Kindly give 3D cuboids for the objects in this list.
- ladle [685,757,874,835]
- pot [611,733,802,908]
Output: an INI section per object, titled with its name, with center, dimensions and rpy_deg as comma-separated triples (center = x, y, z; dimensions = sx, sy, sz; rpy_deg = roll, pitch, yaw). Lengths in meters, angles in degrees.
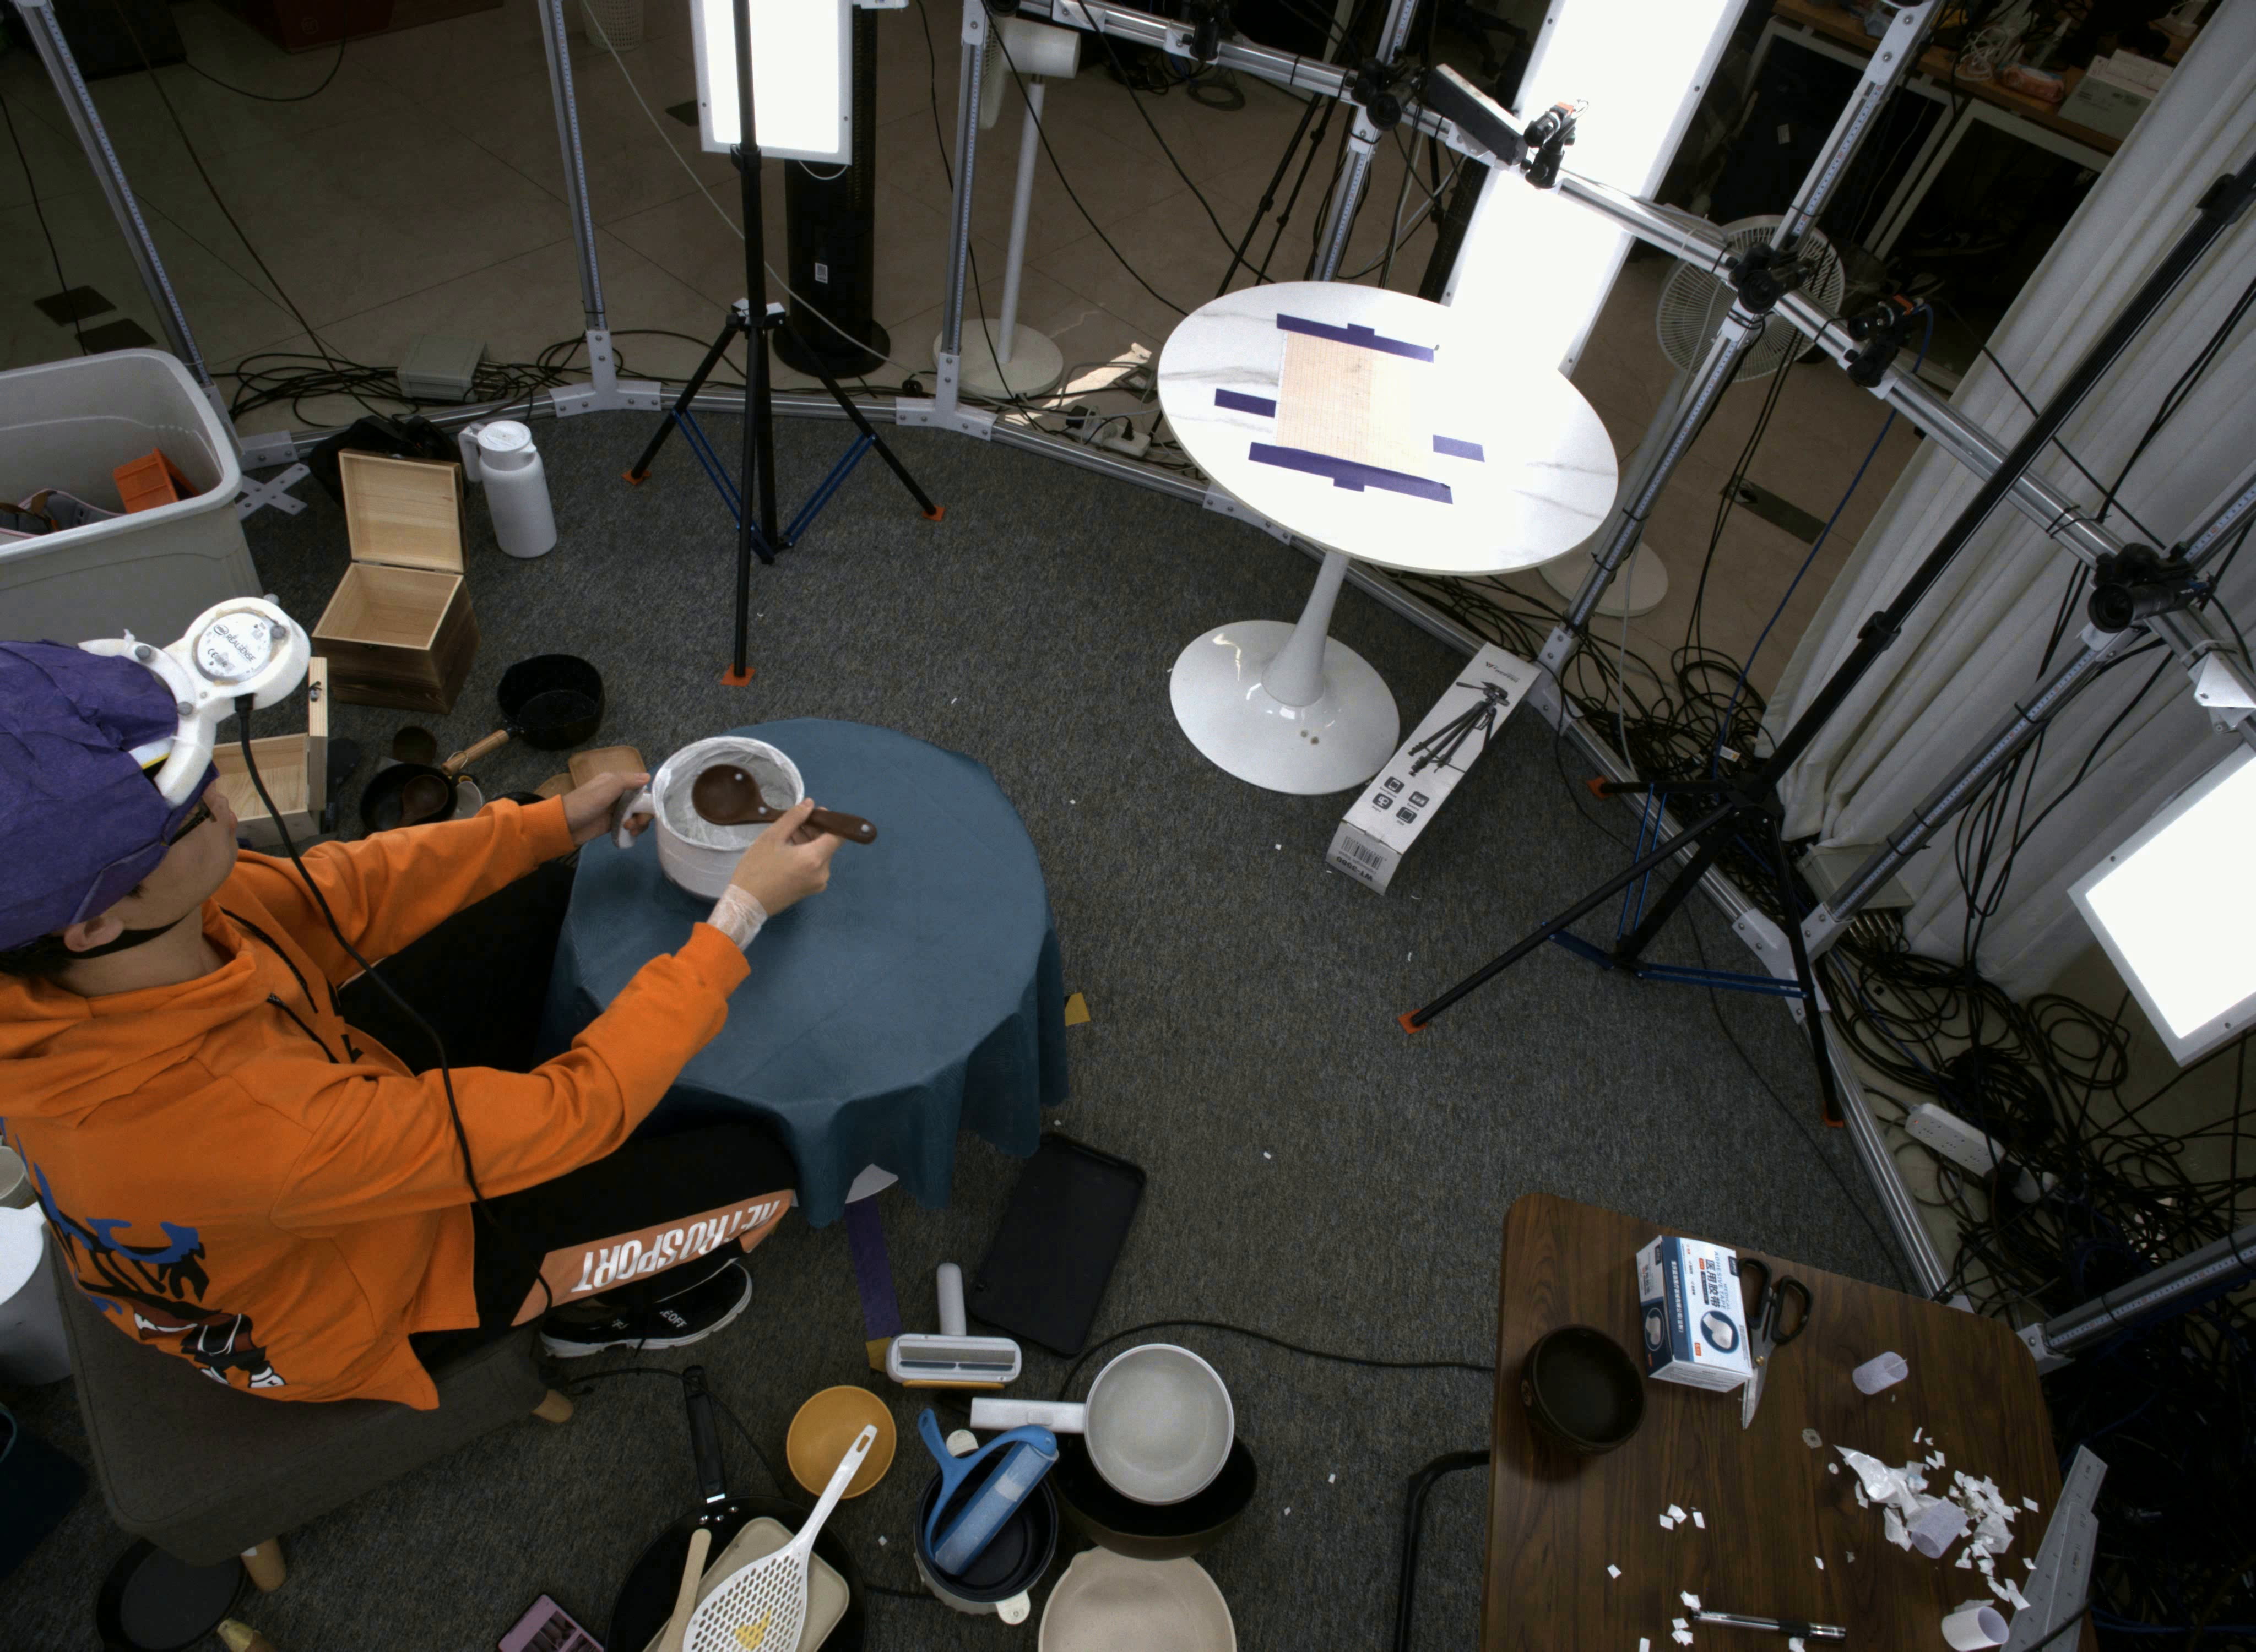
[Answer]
[ladle]
center = -0.379, -0.029, 1.392
dimensions = 0.251, 0.067, 0.076
rpy_deg = 8, 62, 35
[pot]
center = -0.512, -0.005, 1.557
dimensions = 0.234, 0.139, 0.175
rpy_deg = 4, 51, -13
